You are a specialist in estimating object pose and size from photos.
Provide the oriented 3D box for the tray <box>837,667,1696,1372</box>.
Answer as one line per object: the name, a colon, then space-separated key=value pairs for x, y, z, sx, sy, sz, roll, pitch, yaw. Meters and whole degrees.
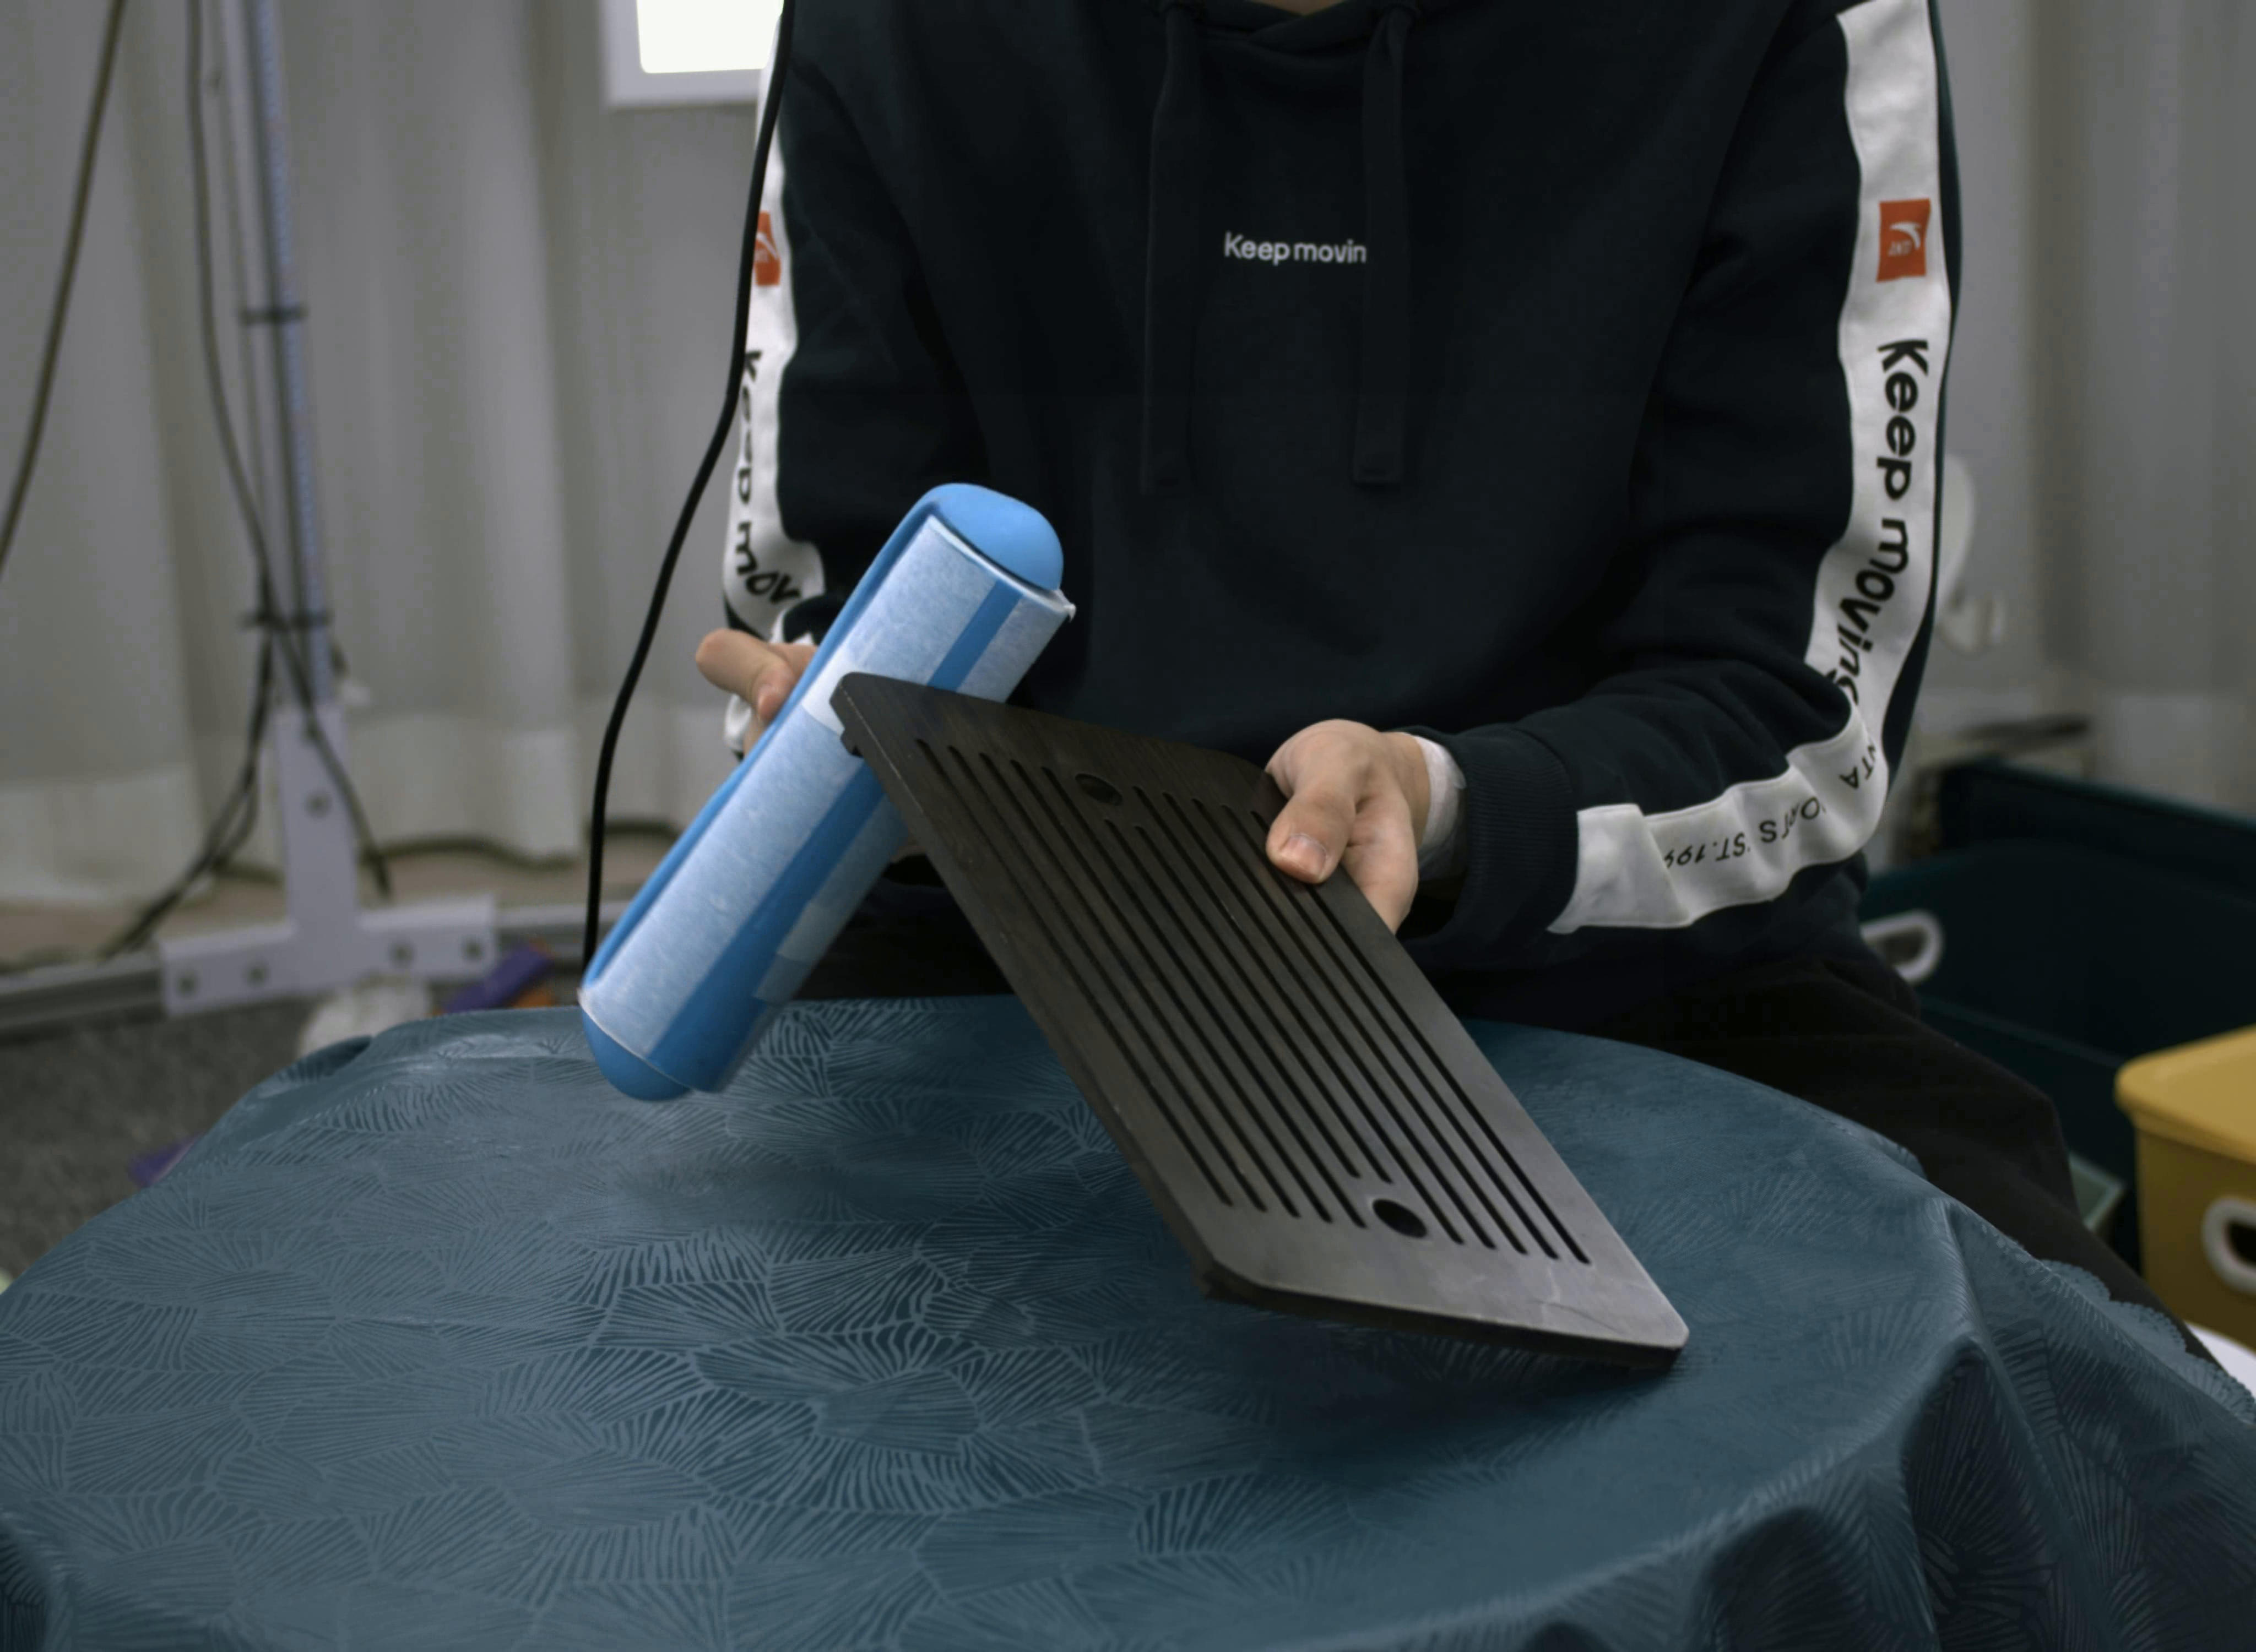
tray: x=0.034 y=0.056 z=1.604 sx=0.168 sy=0.018 sz=0.310 roll=12 pitch=27 yaw=-34

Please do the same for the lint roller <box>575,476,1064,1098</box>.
lint roller: x=-0.092 y=-0.015 z=1.783 sx=0.068 sy=0.229 sz=0.180 roll=35 pitch=6 yaw=1
